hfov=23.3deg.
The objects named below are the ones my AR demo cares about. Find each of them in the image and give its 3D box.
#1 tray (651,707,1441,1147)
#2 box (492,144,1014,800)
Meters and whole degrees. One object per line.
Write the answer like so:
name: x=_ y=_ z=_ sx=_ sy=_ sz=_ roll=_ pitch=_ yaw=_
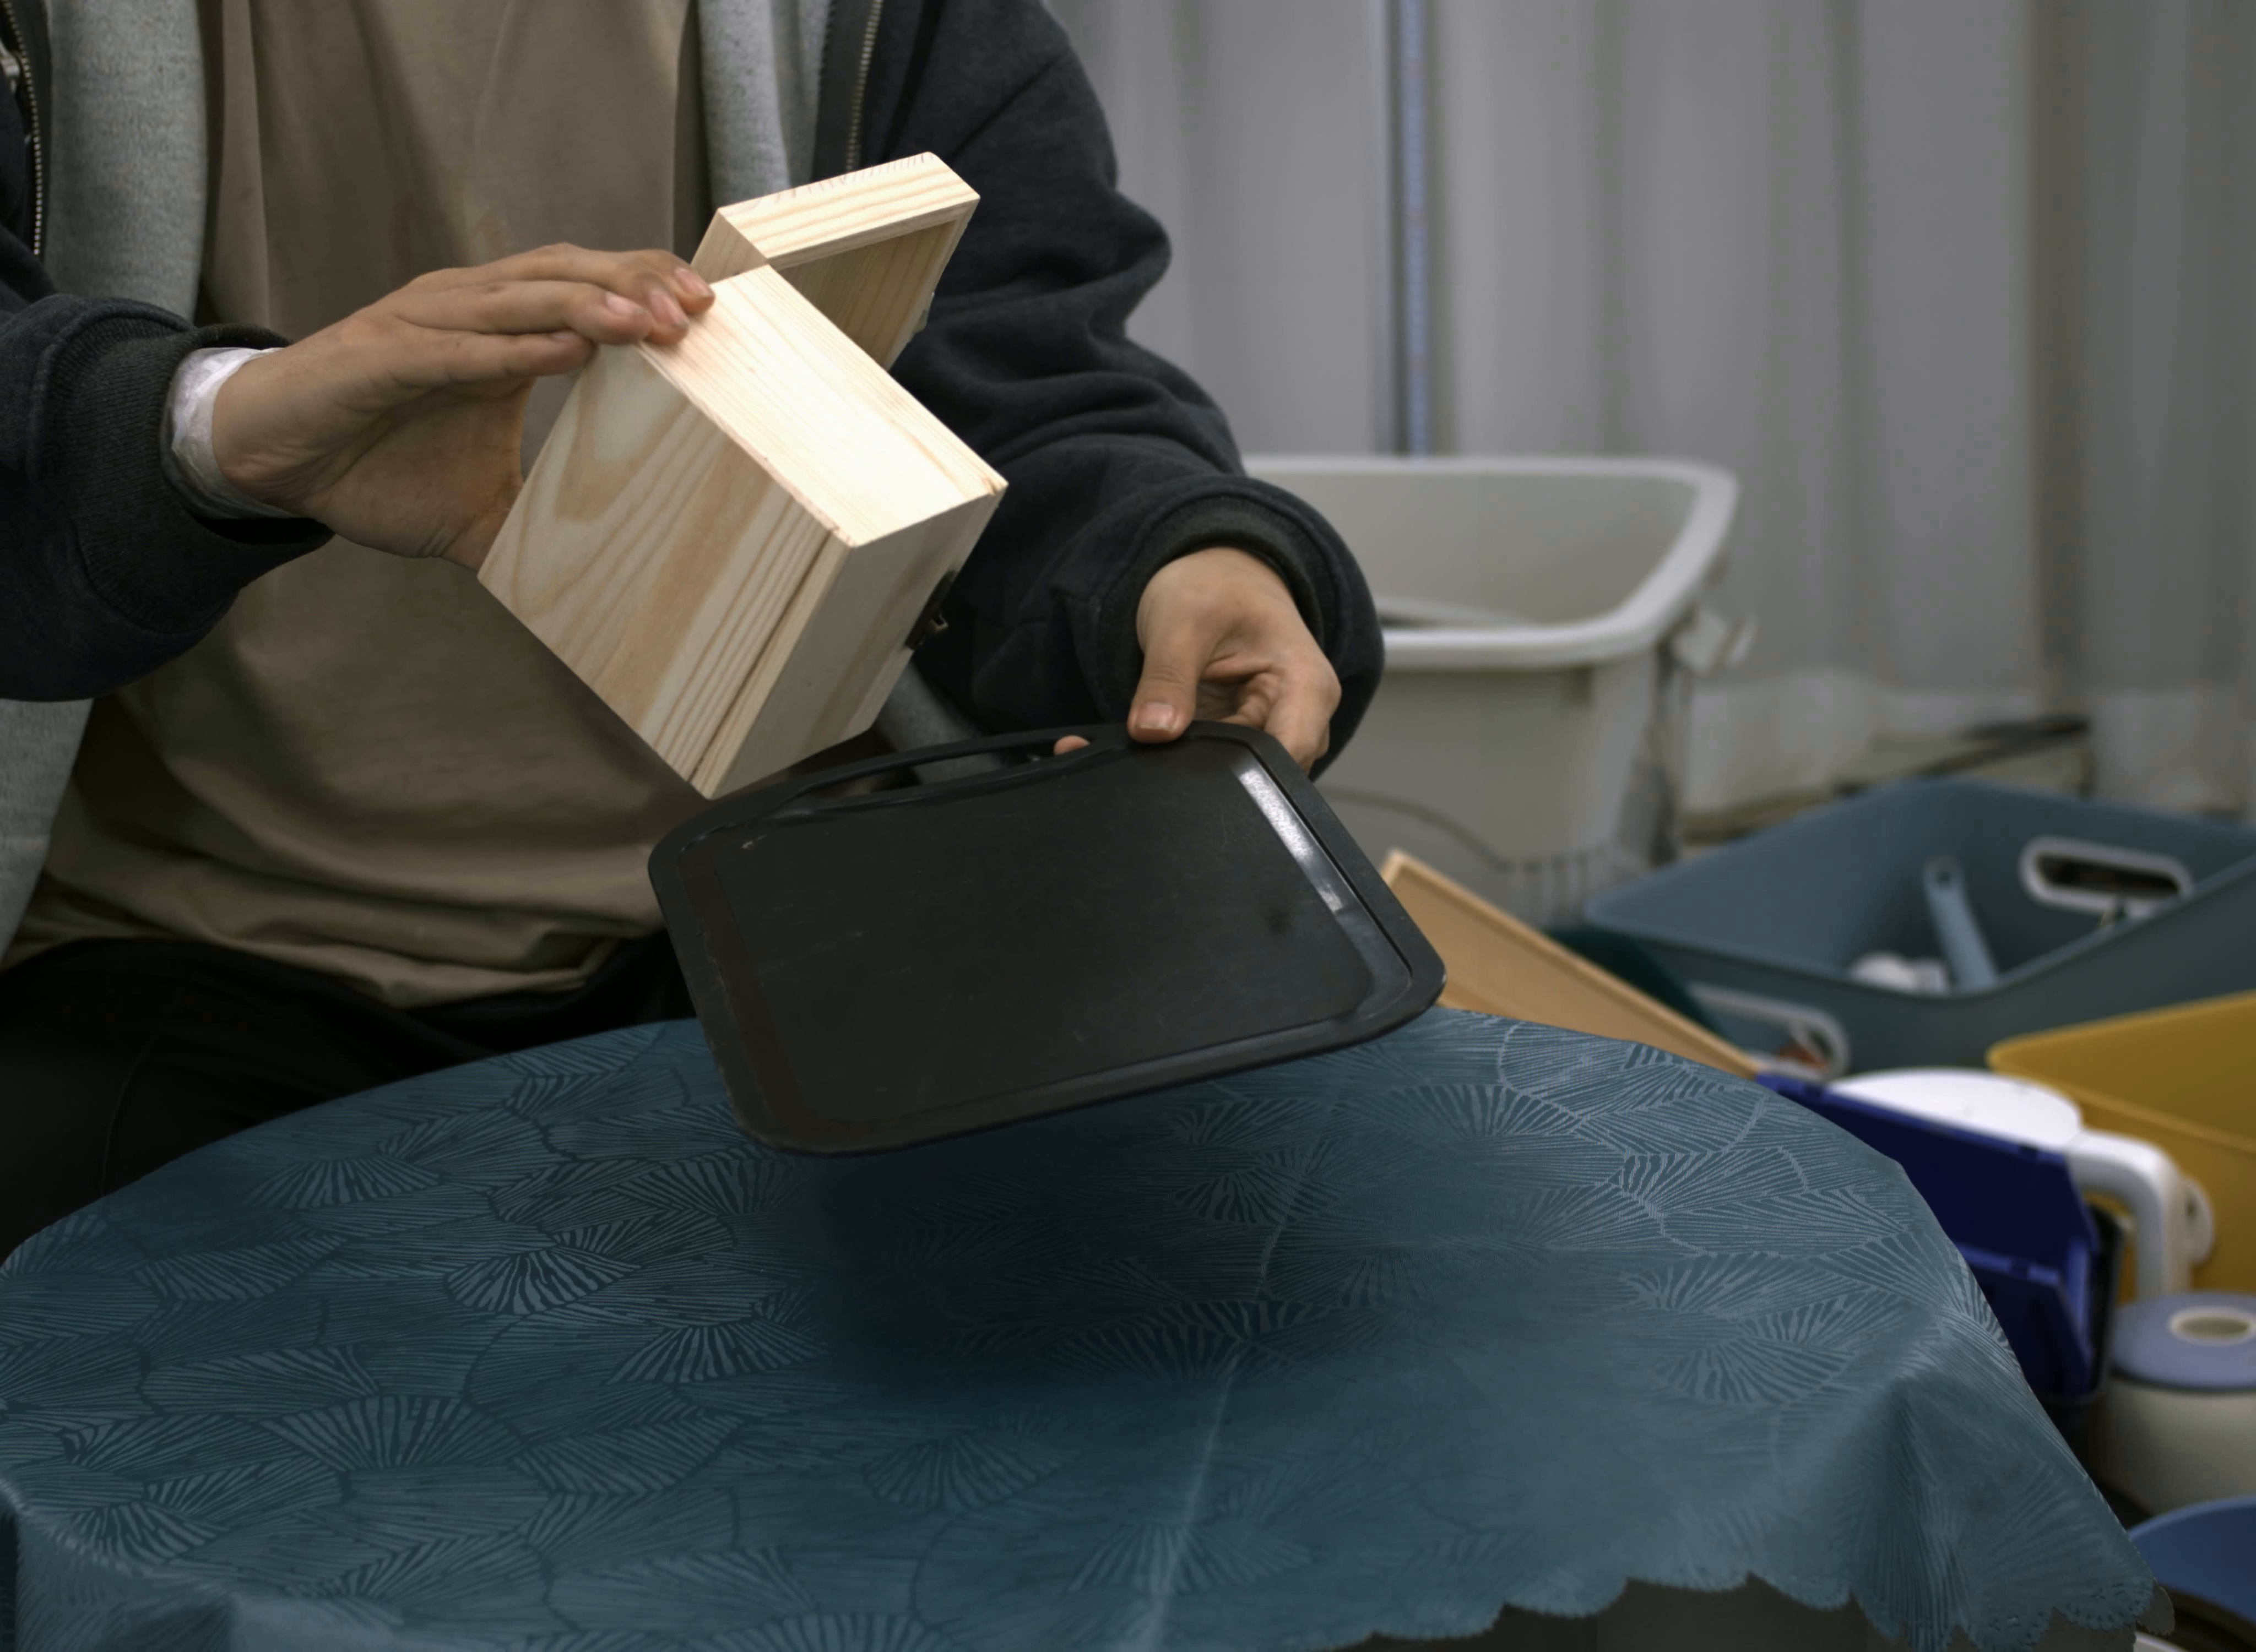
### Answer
tray: x=-0.034 y=0.022 z=1.676 sx=0.210 sy=0.010 sz=0.328 roll=-12 pitch=21 yaw=-7
box: x=-0.087 y=-0.108 z=1.633 sx=0.135 sy=0.102 sz=0.185 roll=41 pitch=37 yaw=16
